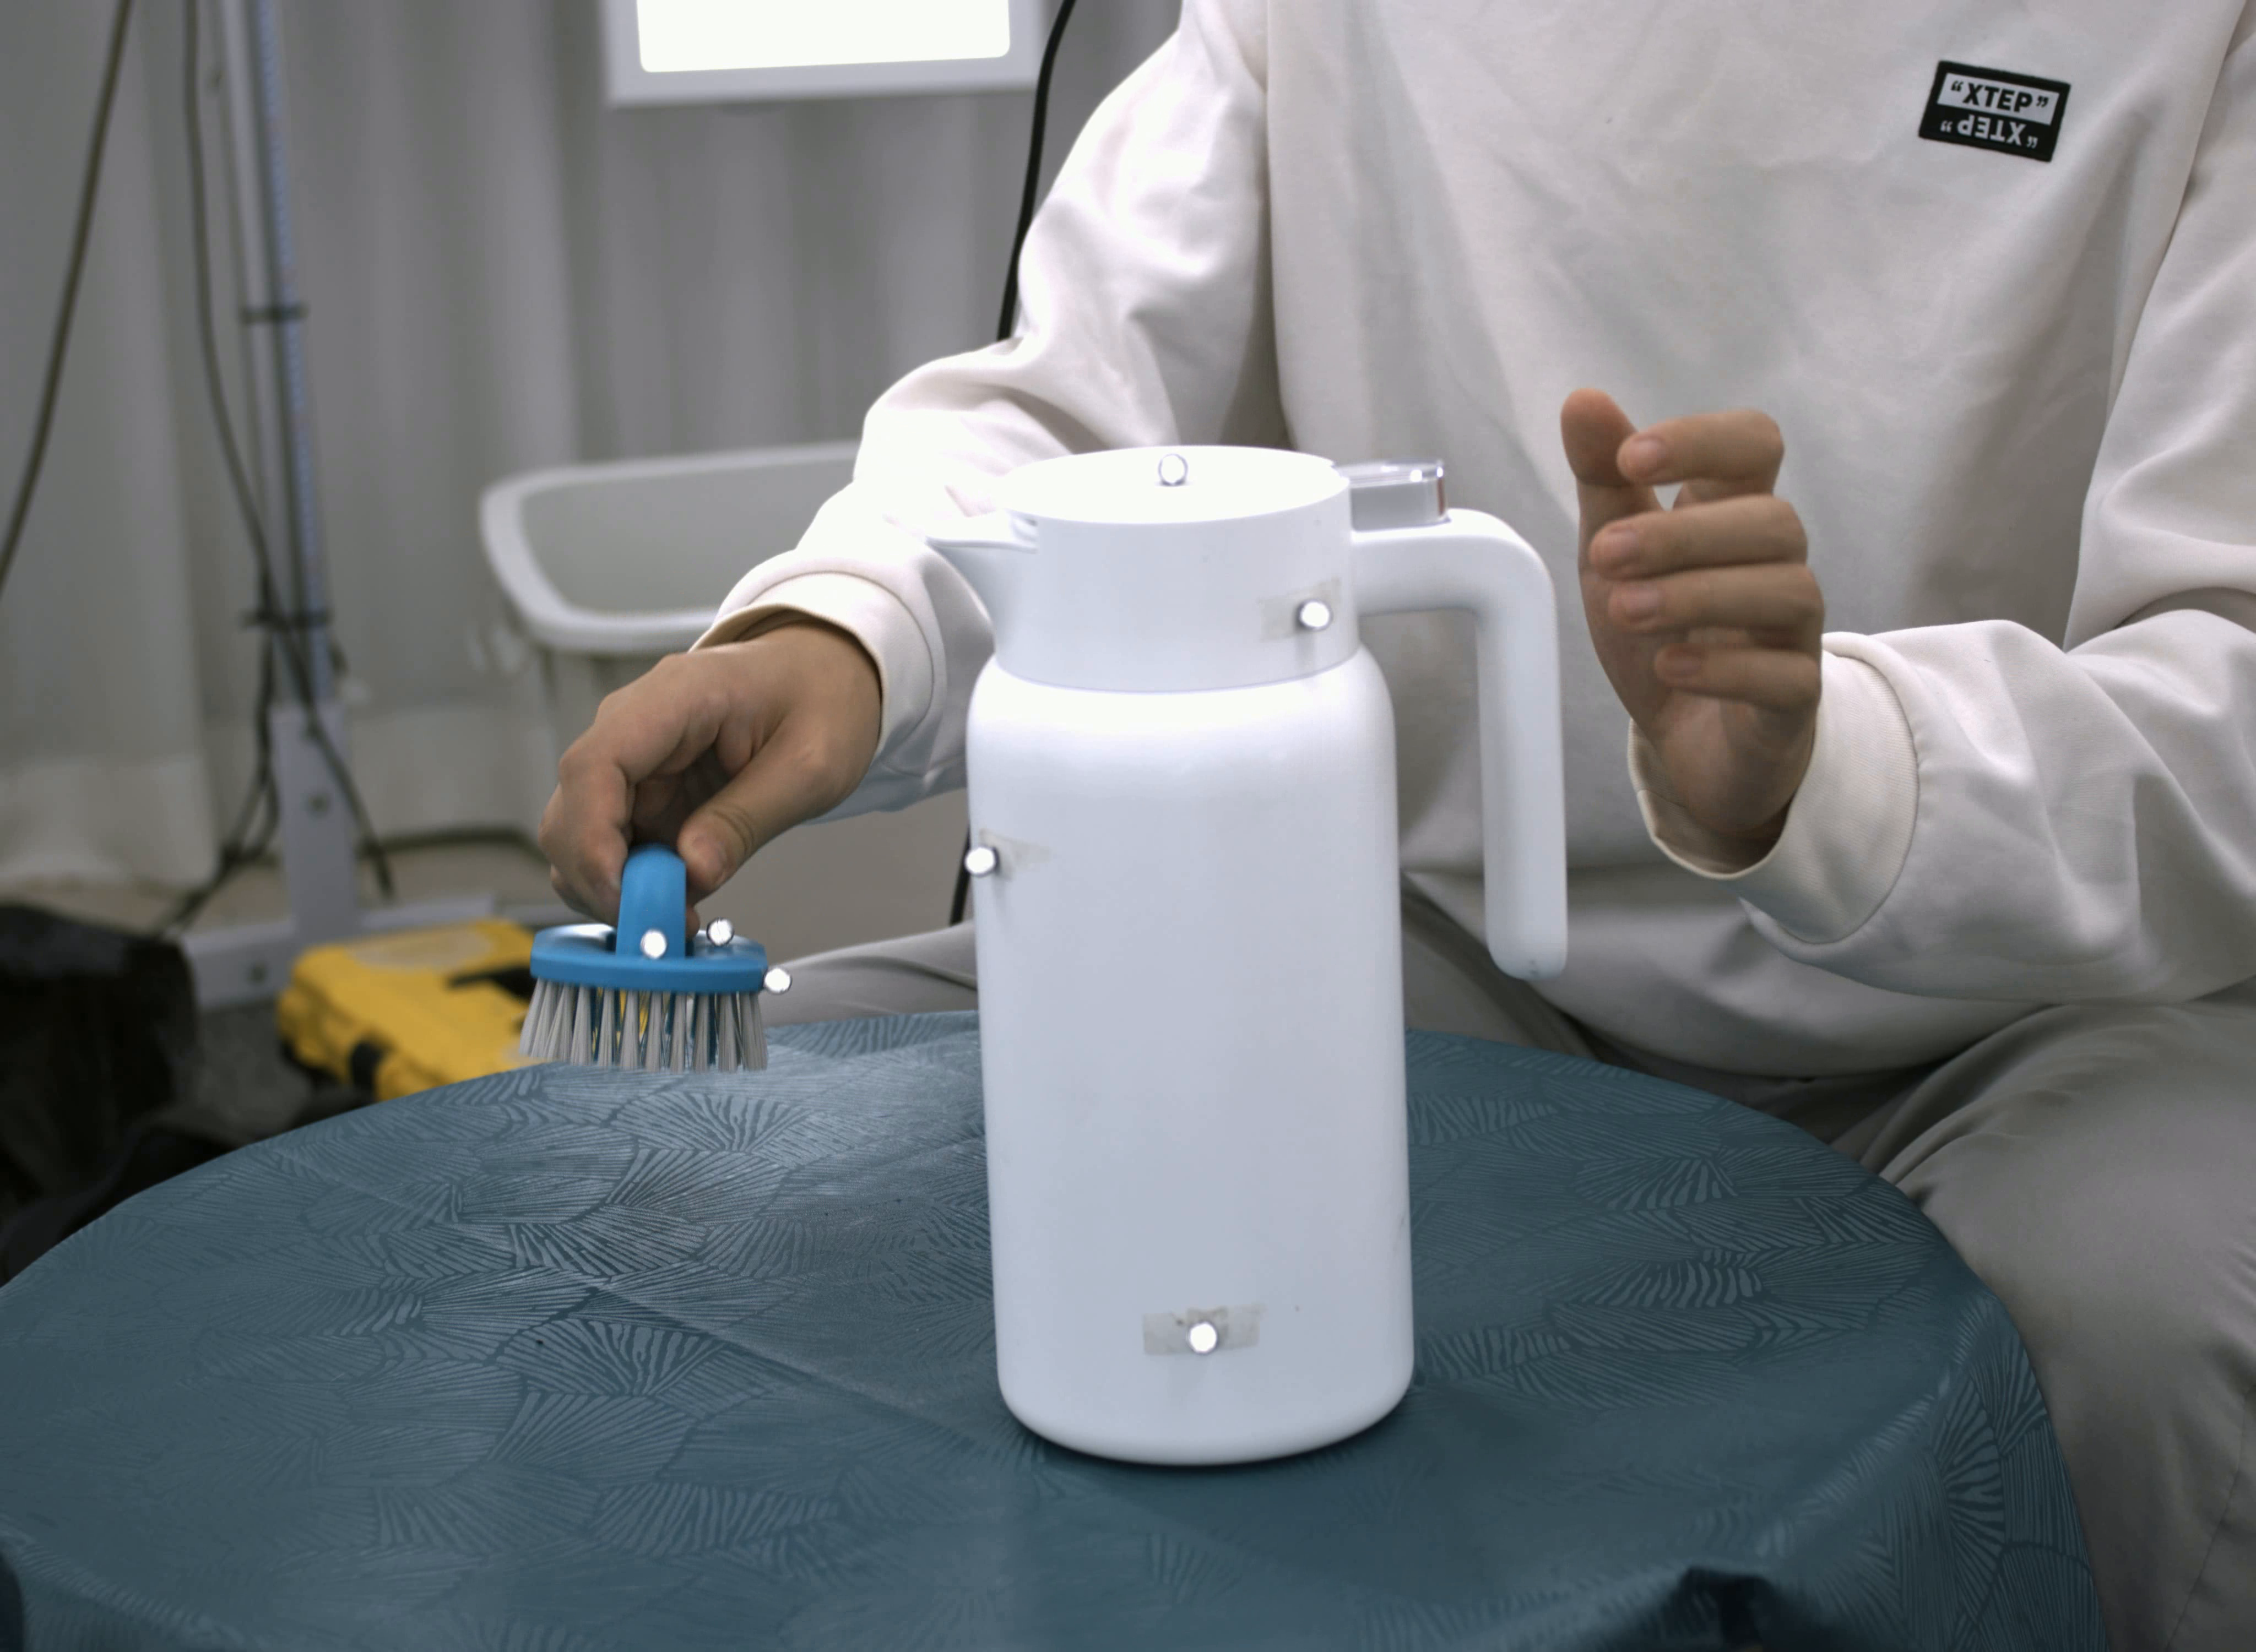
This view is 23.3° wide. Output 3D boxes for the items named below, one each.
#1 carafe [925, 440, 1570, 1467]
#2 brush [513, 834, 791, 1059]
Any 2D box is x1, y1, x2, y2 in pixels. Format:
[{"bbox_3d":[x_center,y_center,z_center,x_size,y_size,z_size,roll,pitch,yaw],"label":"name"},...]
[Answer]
[{"bbox_3d":[0.035,0.032,1.508,0.172,0.268,0.124,-4,12,-8],"label":"carafe"},{"bbox_3d":[-0.147,0.035,1.693,0.084,0.064,0.142,-1,2,-4],"label":"brush"}]
